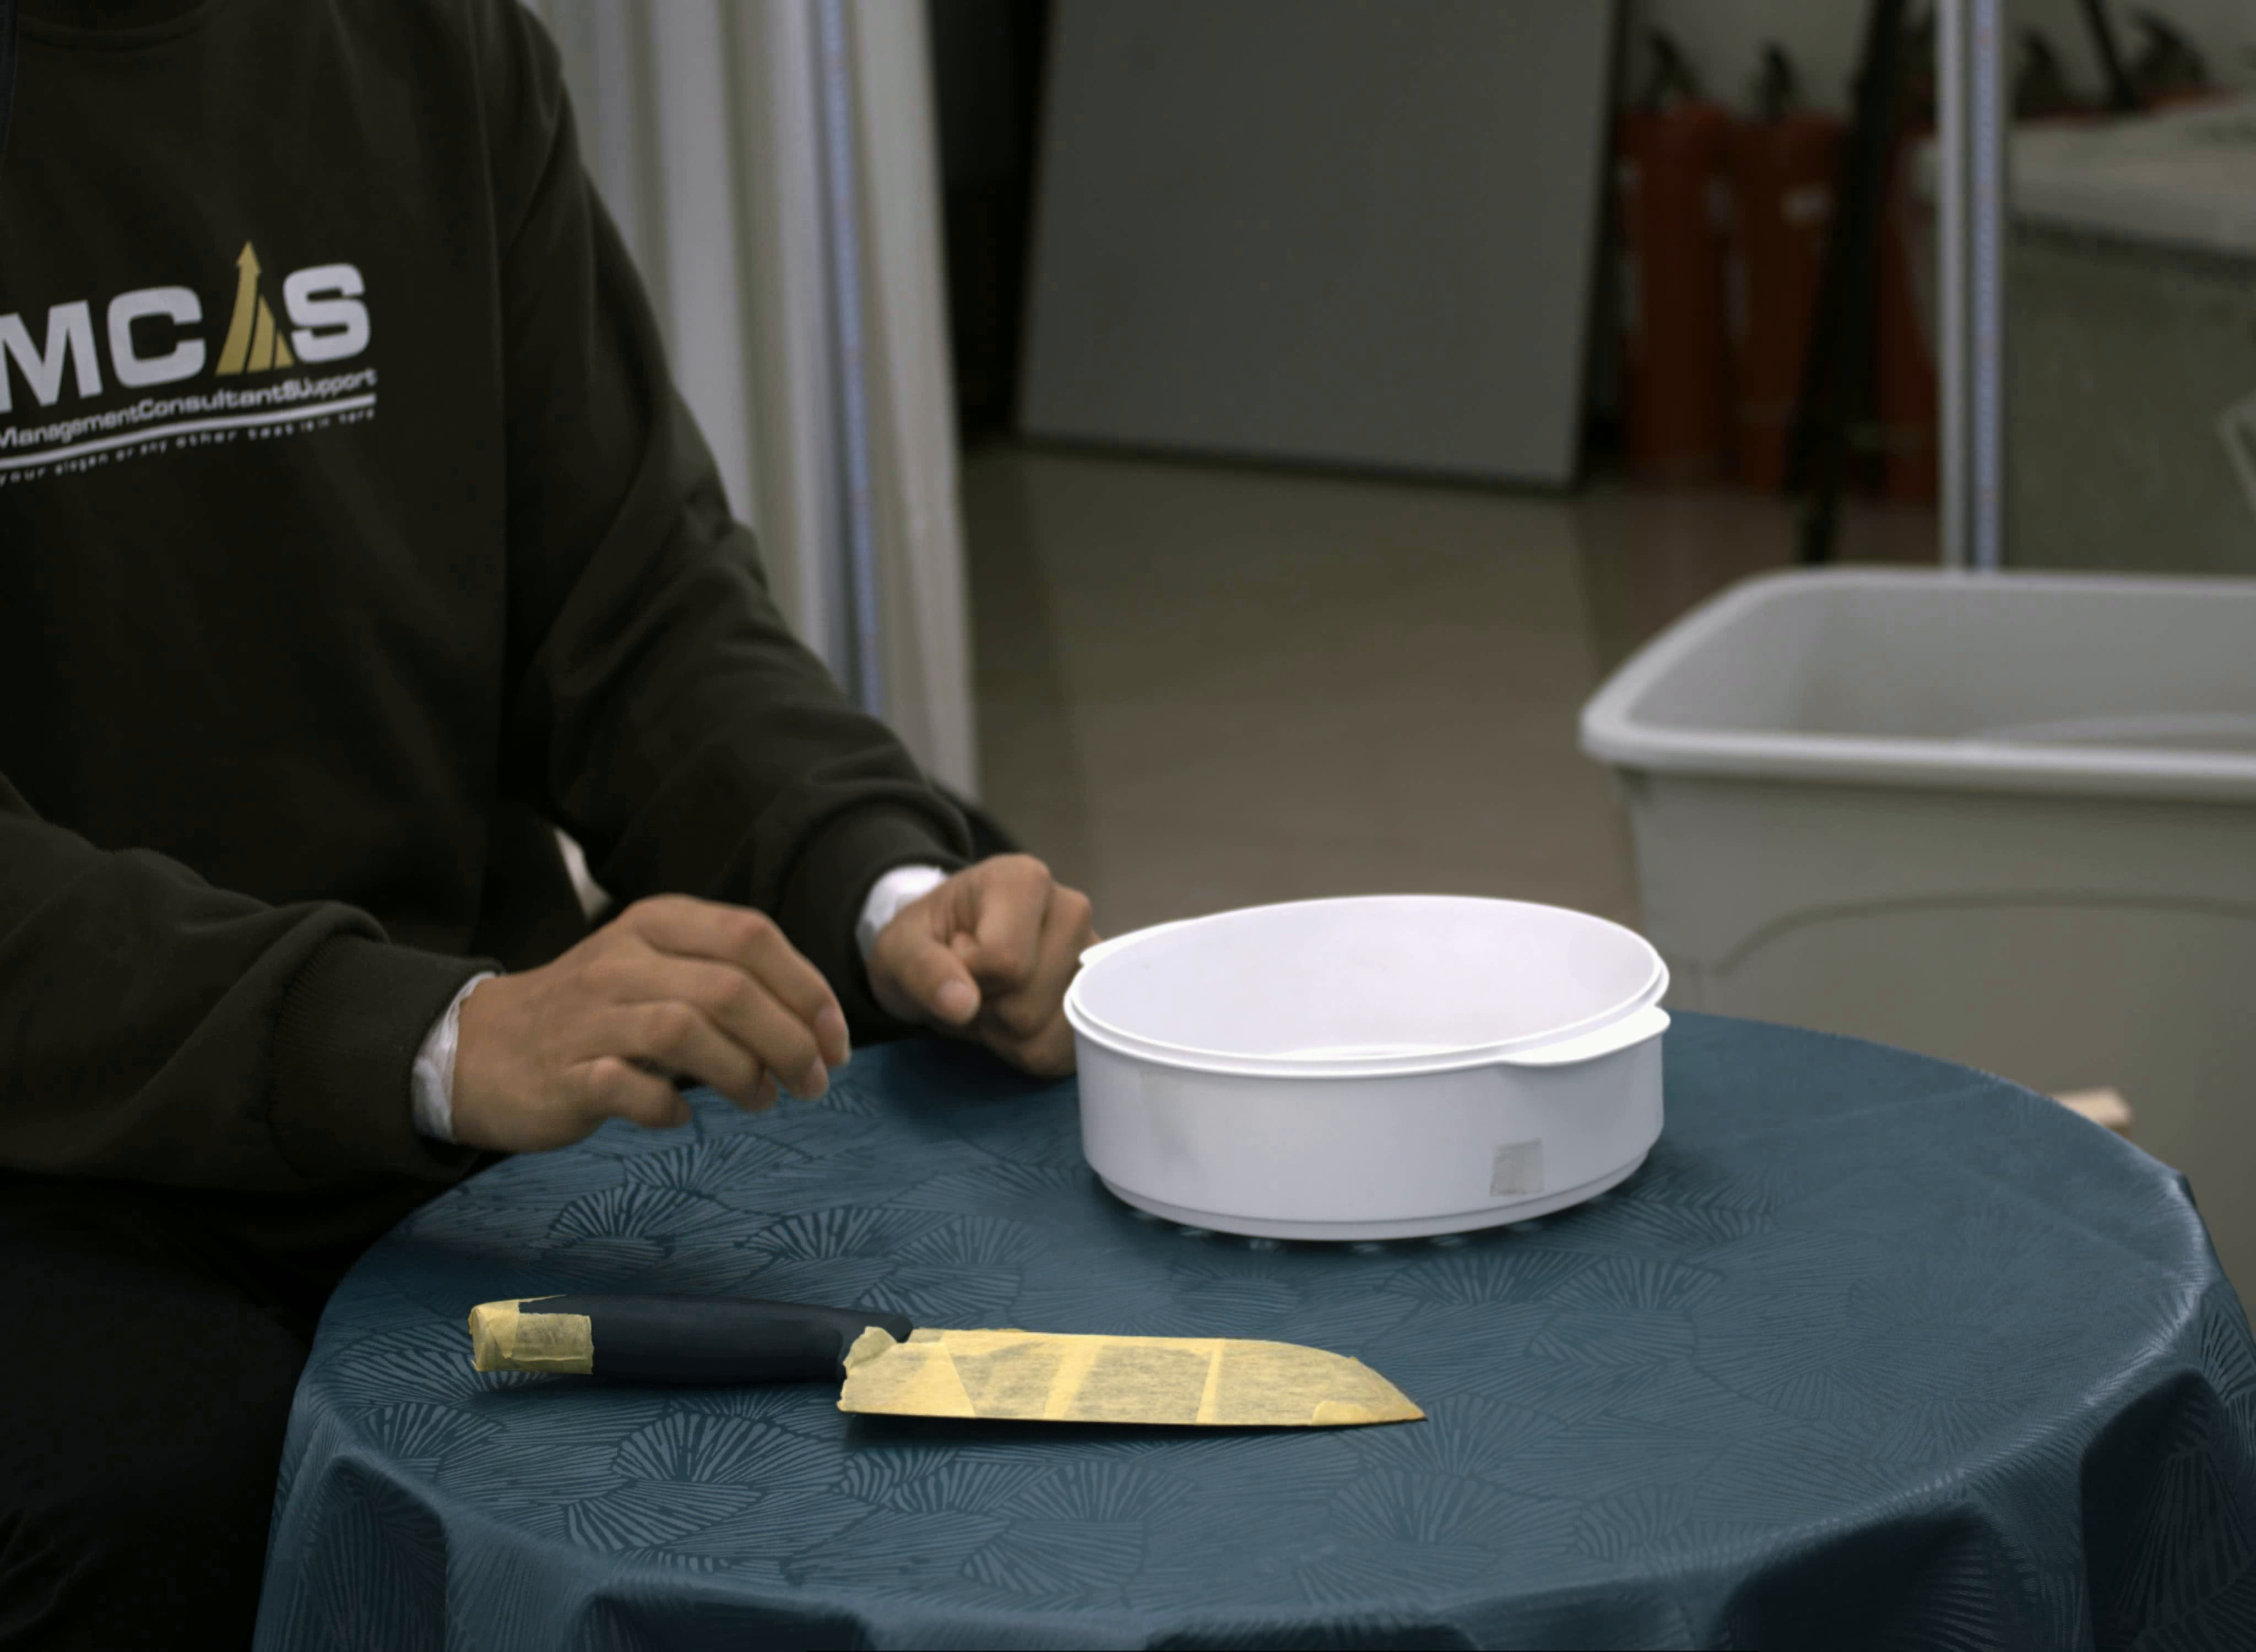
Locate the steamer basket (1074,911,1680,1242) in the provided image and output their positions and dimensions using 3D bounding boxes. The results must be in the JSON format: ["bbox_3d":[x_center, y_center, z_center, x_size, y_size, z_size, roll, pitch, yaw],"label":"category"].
[{"bbox_3d":[0.083,0.082,1.771,0.197,0.070,0.233,-15,15,-41],"label":"steamer basket"}]

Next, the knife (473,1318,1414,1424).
[{"bbox_3d":[-0.057,0.163,1.588,0.287,0.027,0.080,-1,11,10],"label":"knife"}]
